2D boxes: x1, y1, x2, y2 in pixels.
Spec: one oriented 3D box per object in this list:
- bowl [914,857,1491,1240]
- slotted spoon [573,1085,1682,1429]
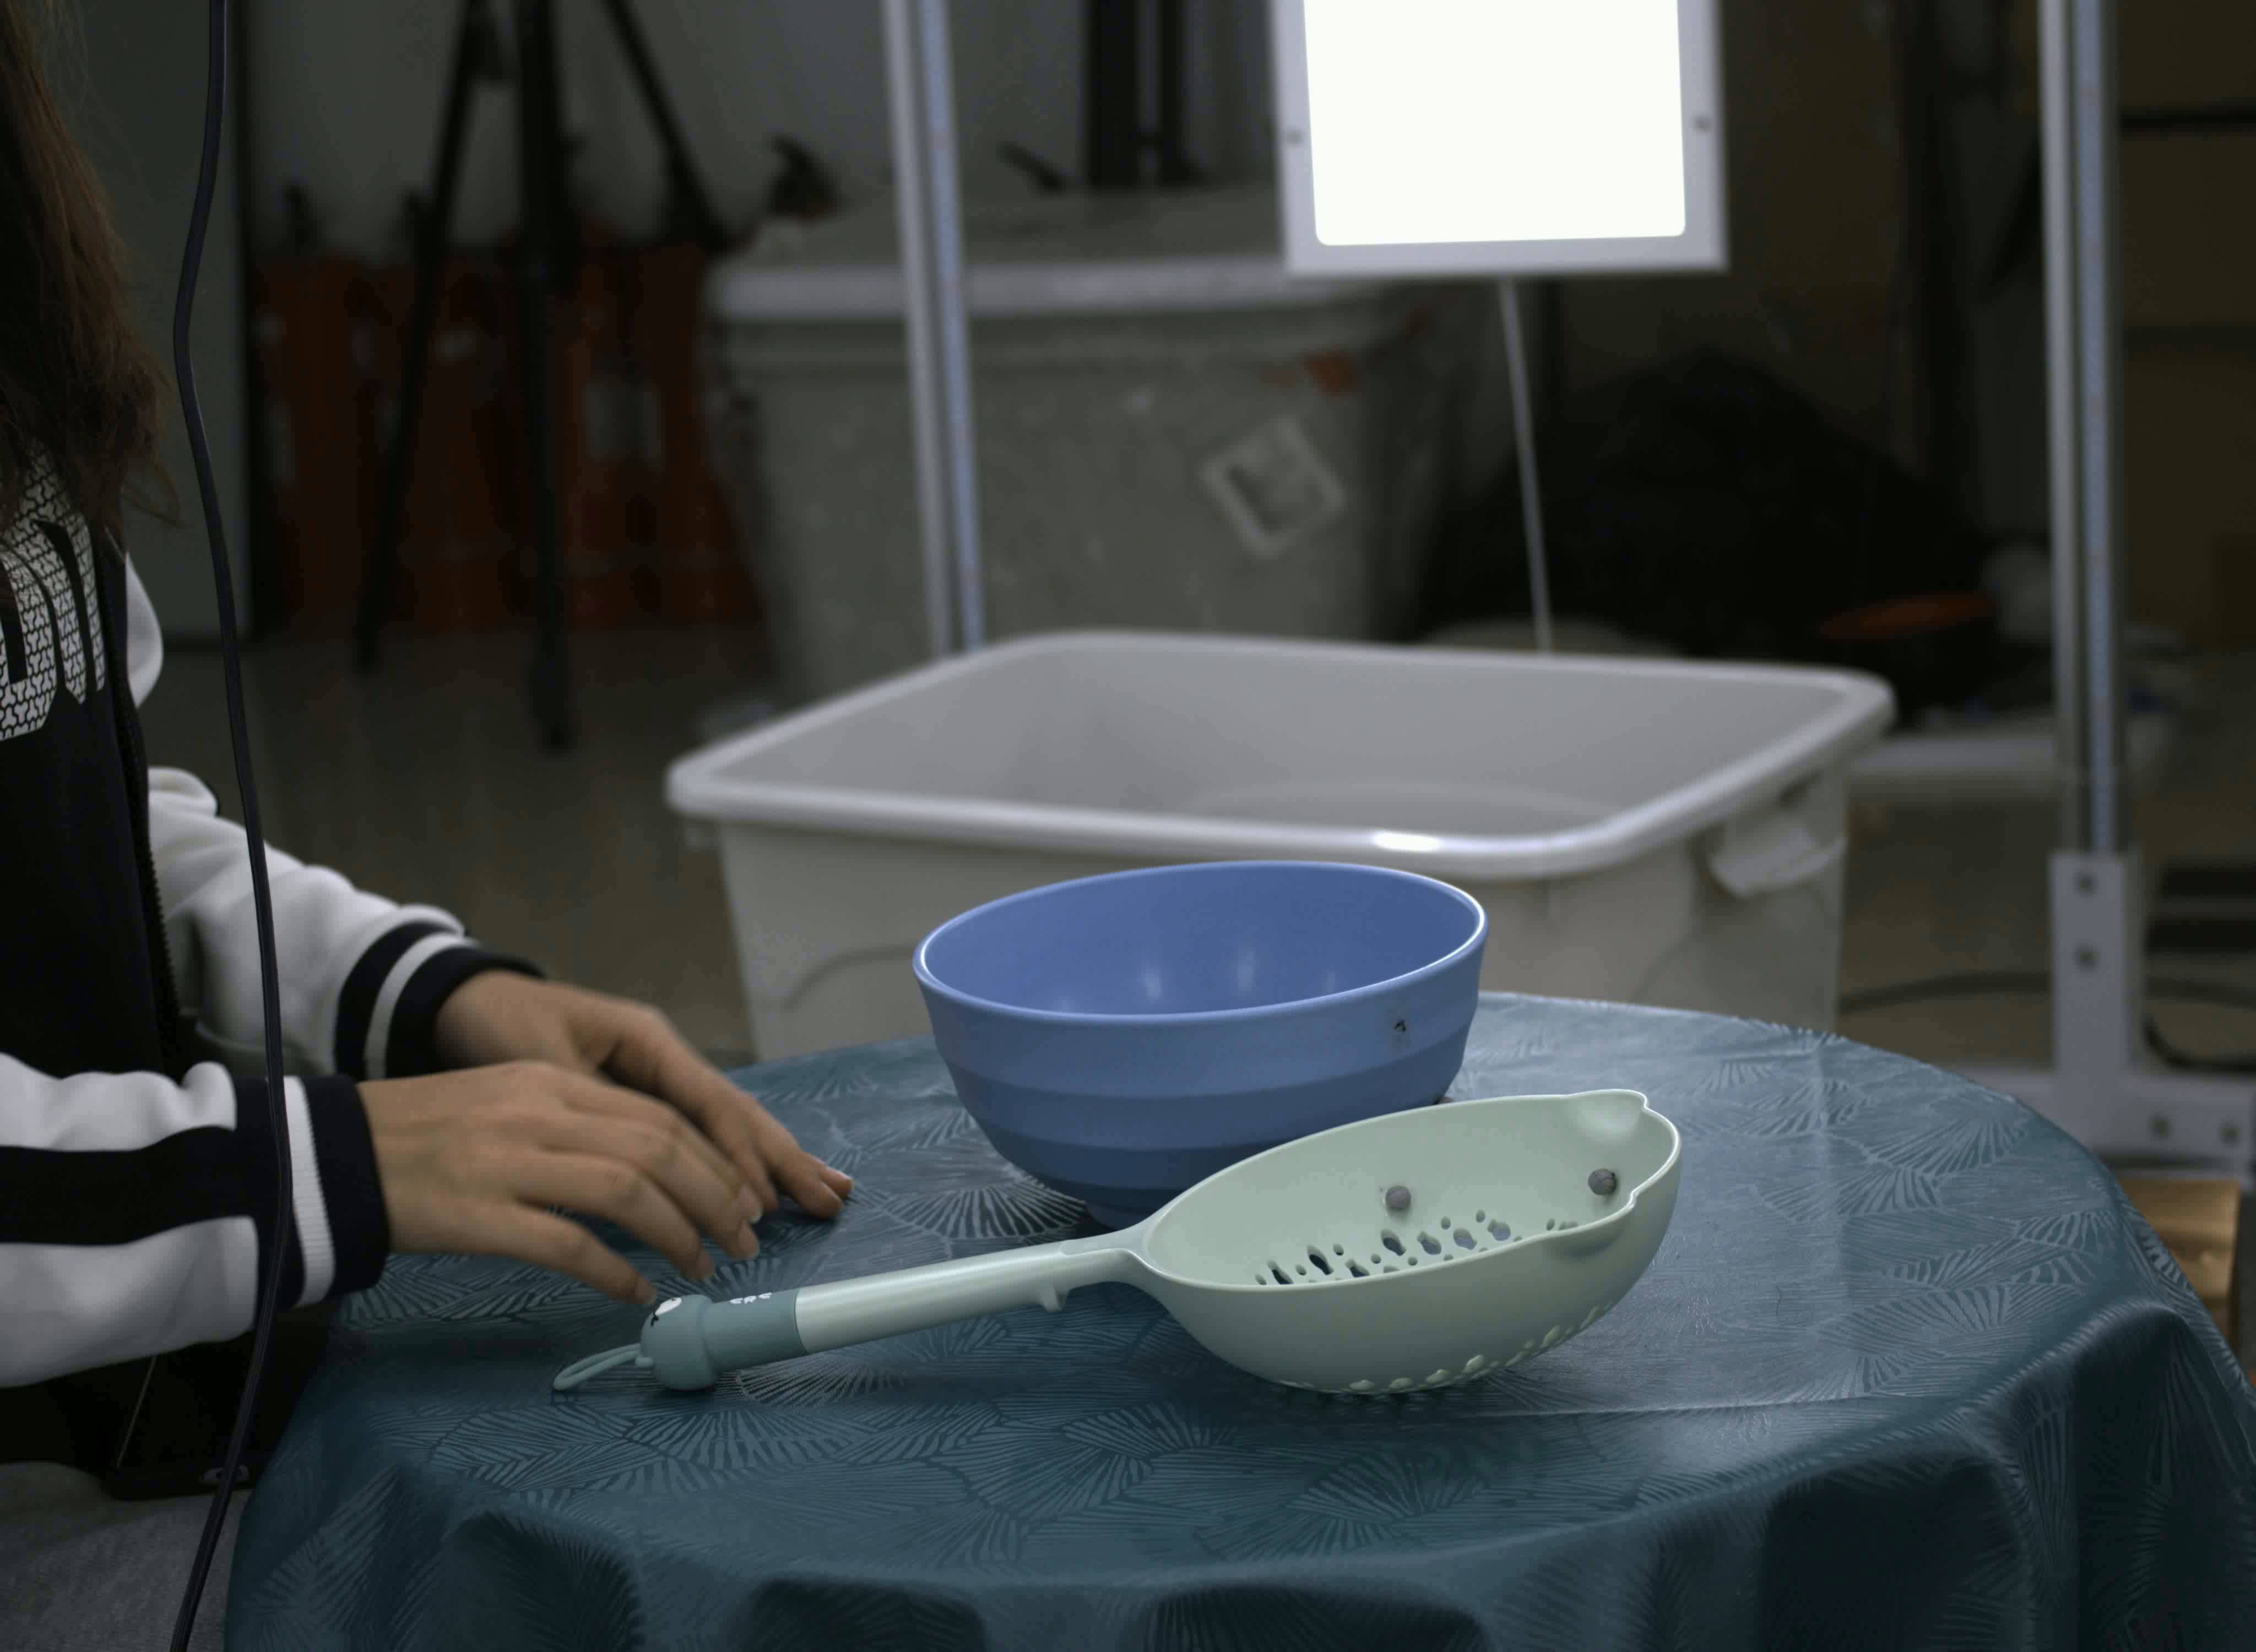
[{"bbox_3d":[0.029,0.082,1.872,0.196,0.096,0.196,-5,14,0],"label":"bowl"},{"bbox_3d":[-0.004,0.143,1.712,0.361,0.075,0.167,-4,13,11],"label":"slotted spoon"}]
